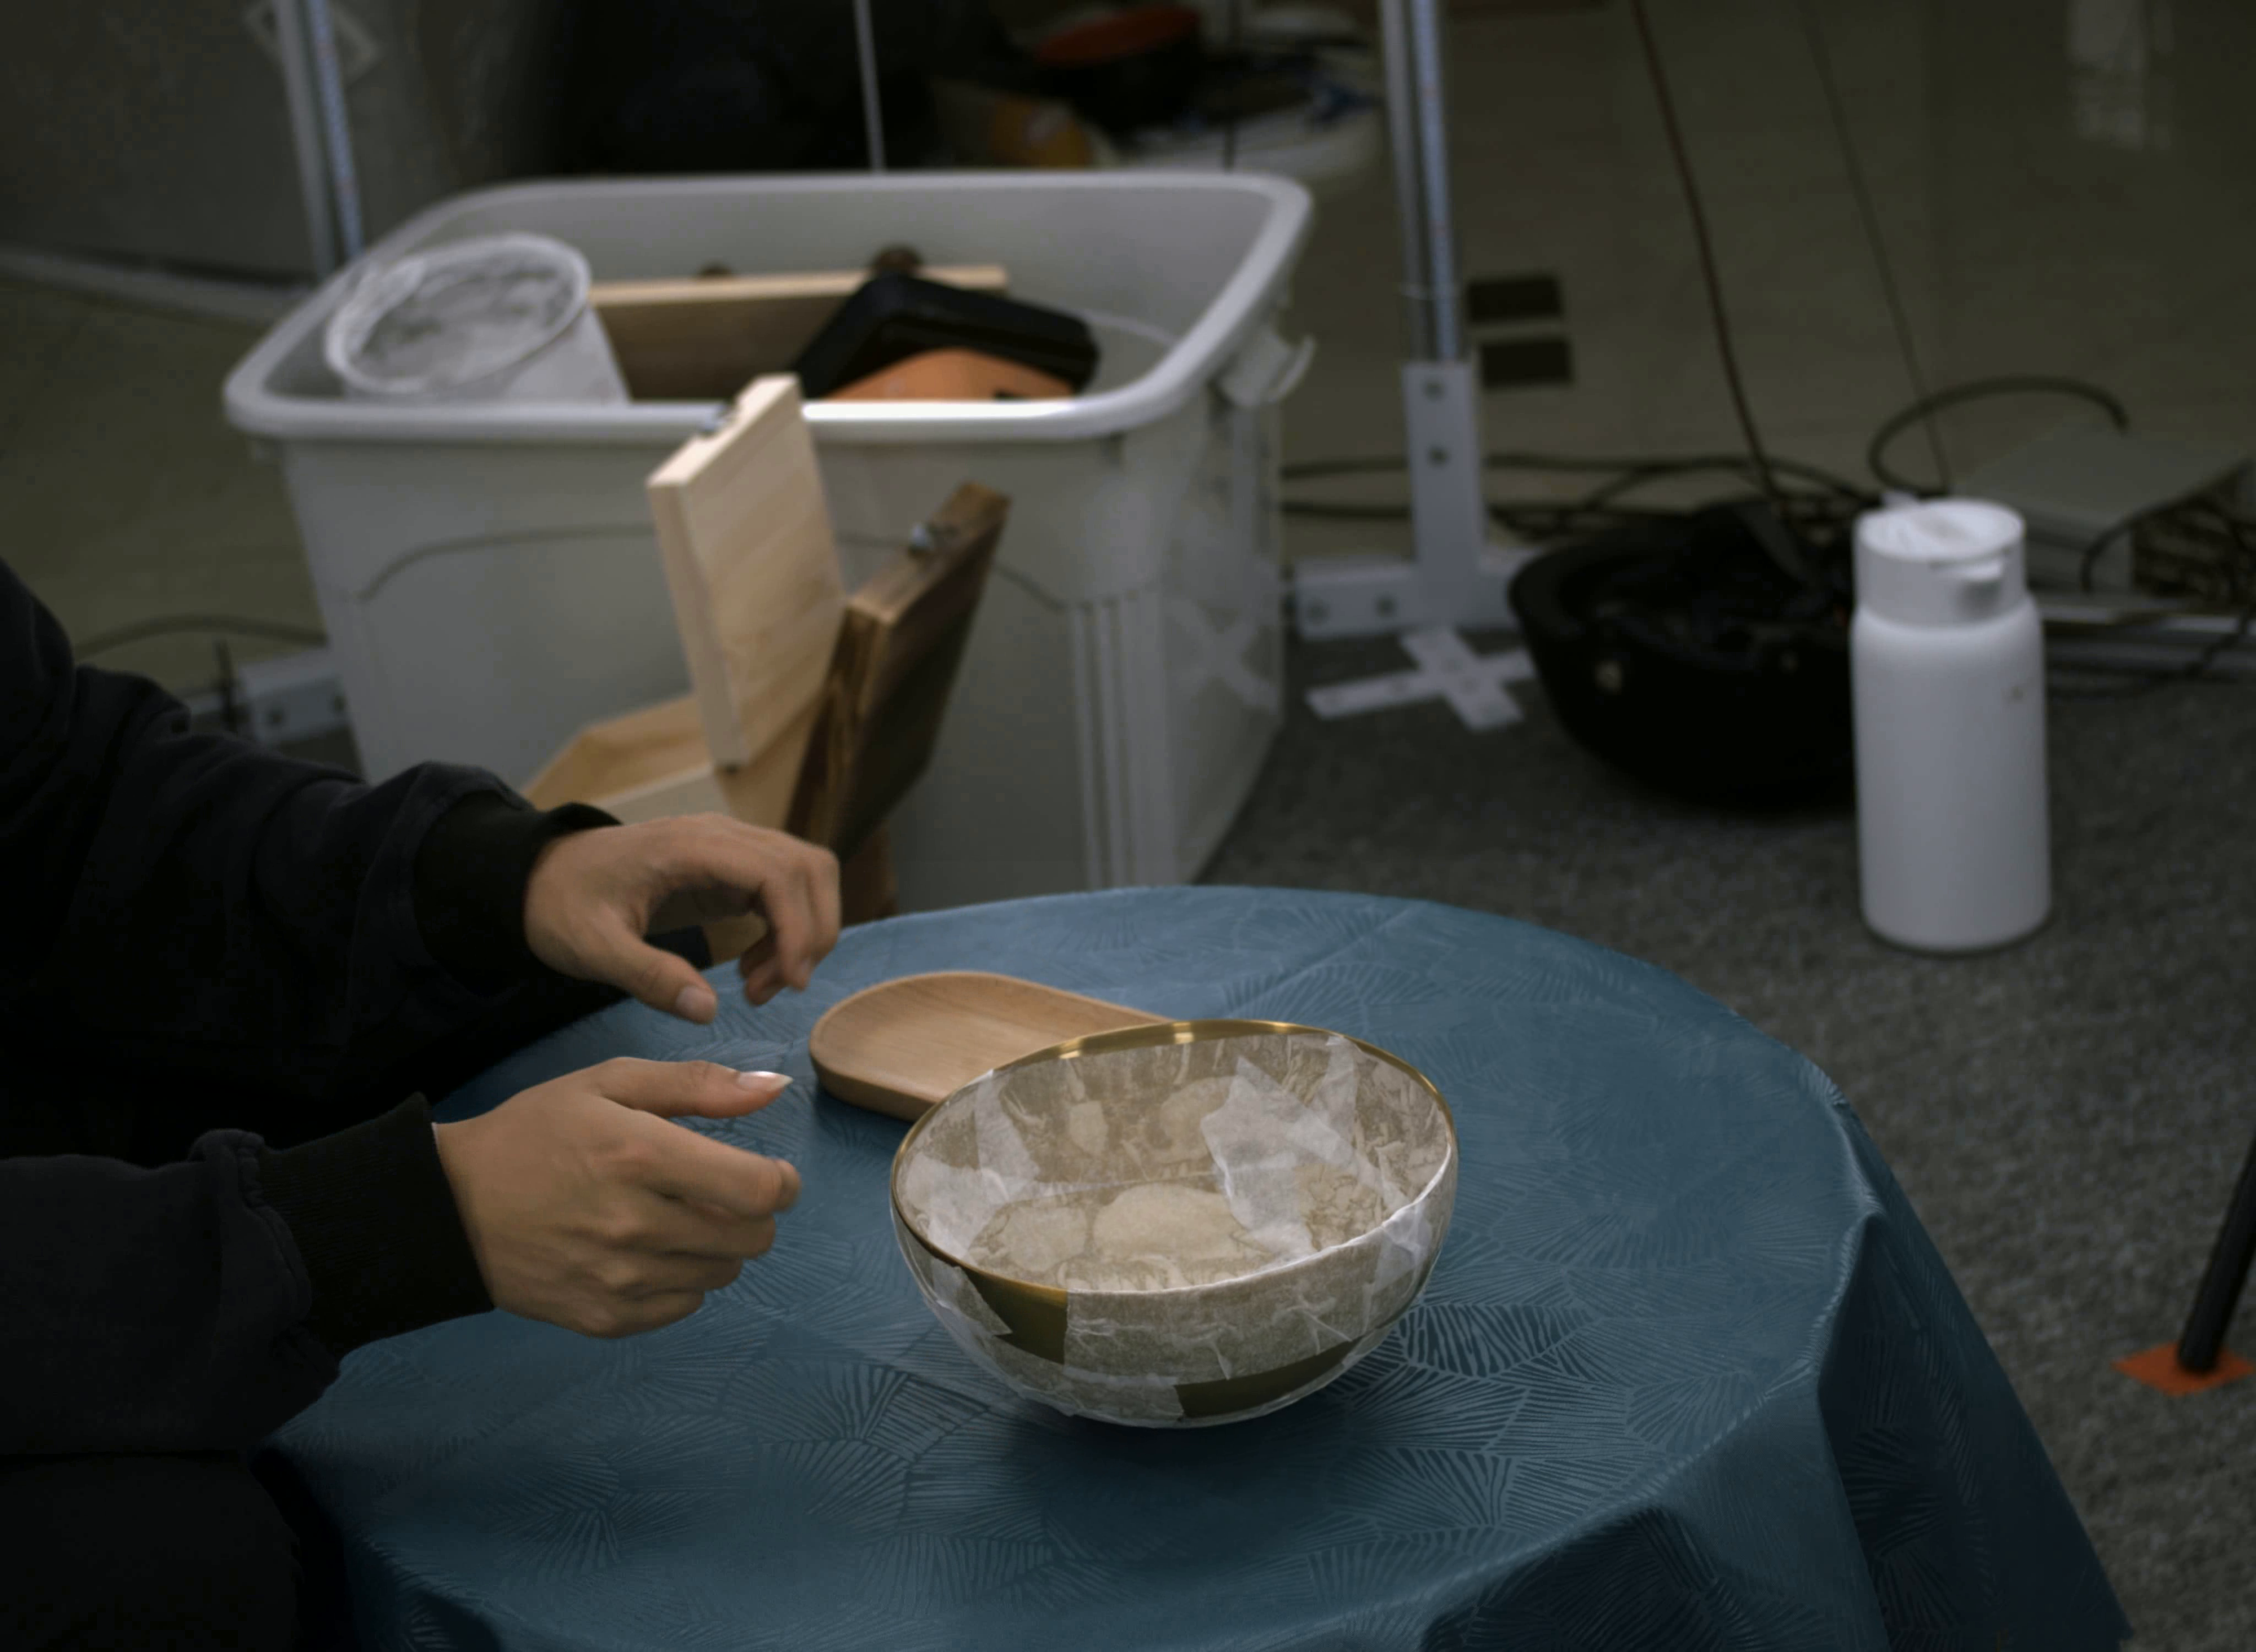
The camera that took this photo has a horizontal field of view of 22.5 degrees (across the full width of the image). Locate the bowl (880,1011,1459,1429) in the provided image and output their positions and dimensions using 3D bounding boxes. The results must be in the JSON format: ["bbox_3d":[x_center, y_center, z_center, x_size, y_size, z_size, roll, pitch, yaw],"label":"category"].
[{"bbox_3d":[0.019,0.150,2.010,0.214,0.096,0.211,-6,26,3],"label":"bowl"}]

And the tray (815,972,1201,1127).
[{"bbox_3d":[-0.023,0.100,2.225,0.230,0.020,0.100,15,35,34],"label":"tray"}]
